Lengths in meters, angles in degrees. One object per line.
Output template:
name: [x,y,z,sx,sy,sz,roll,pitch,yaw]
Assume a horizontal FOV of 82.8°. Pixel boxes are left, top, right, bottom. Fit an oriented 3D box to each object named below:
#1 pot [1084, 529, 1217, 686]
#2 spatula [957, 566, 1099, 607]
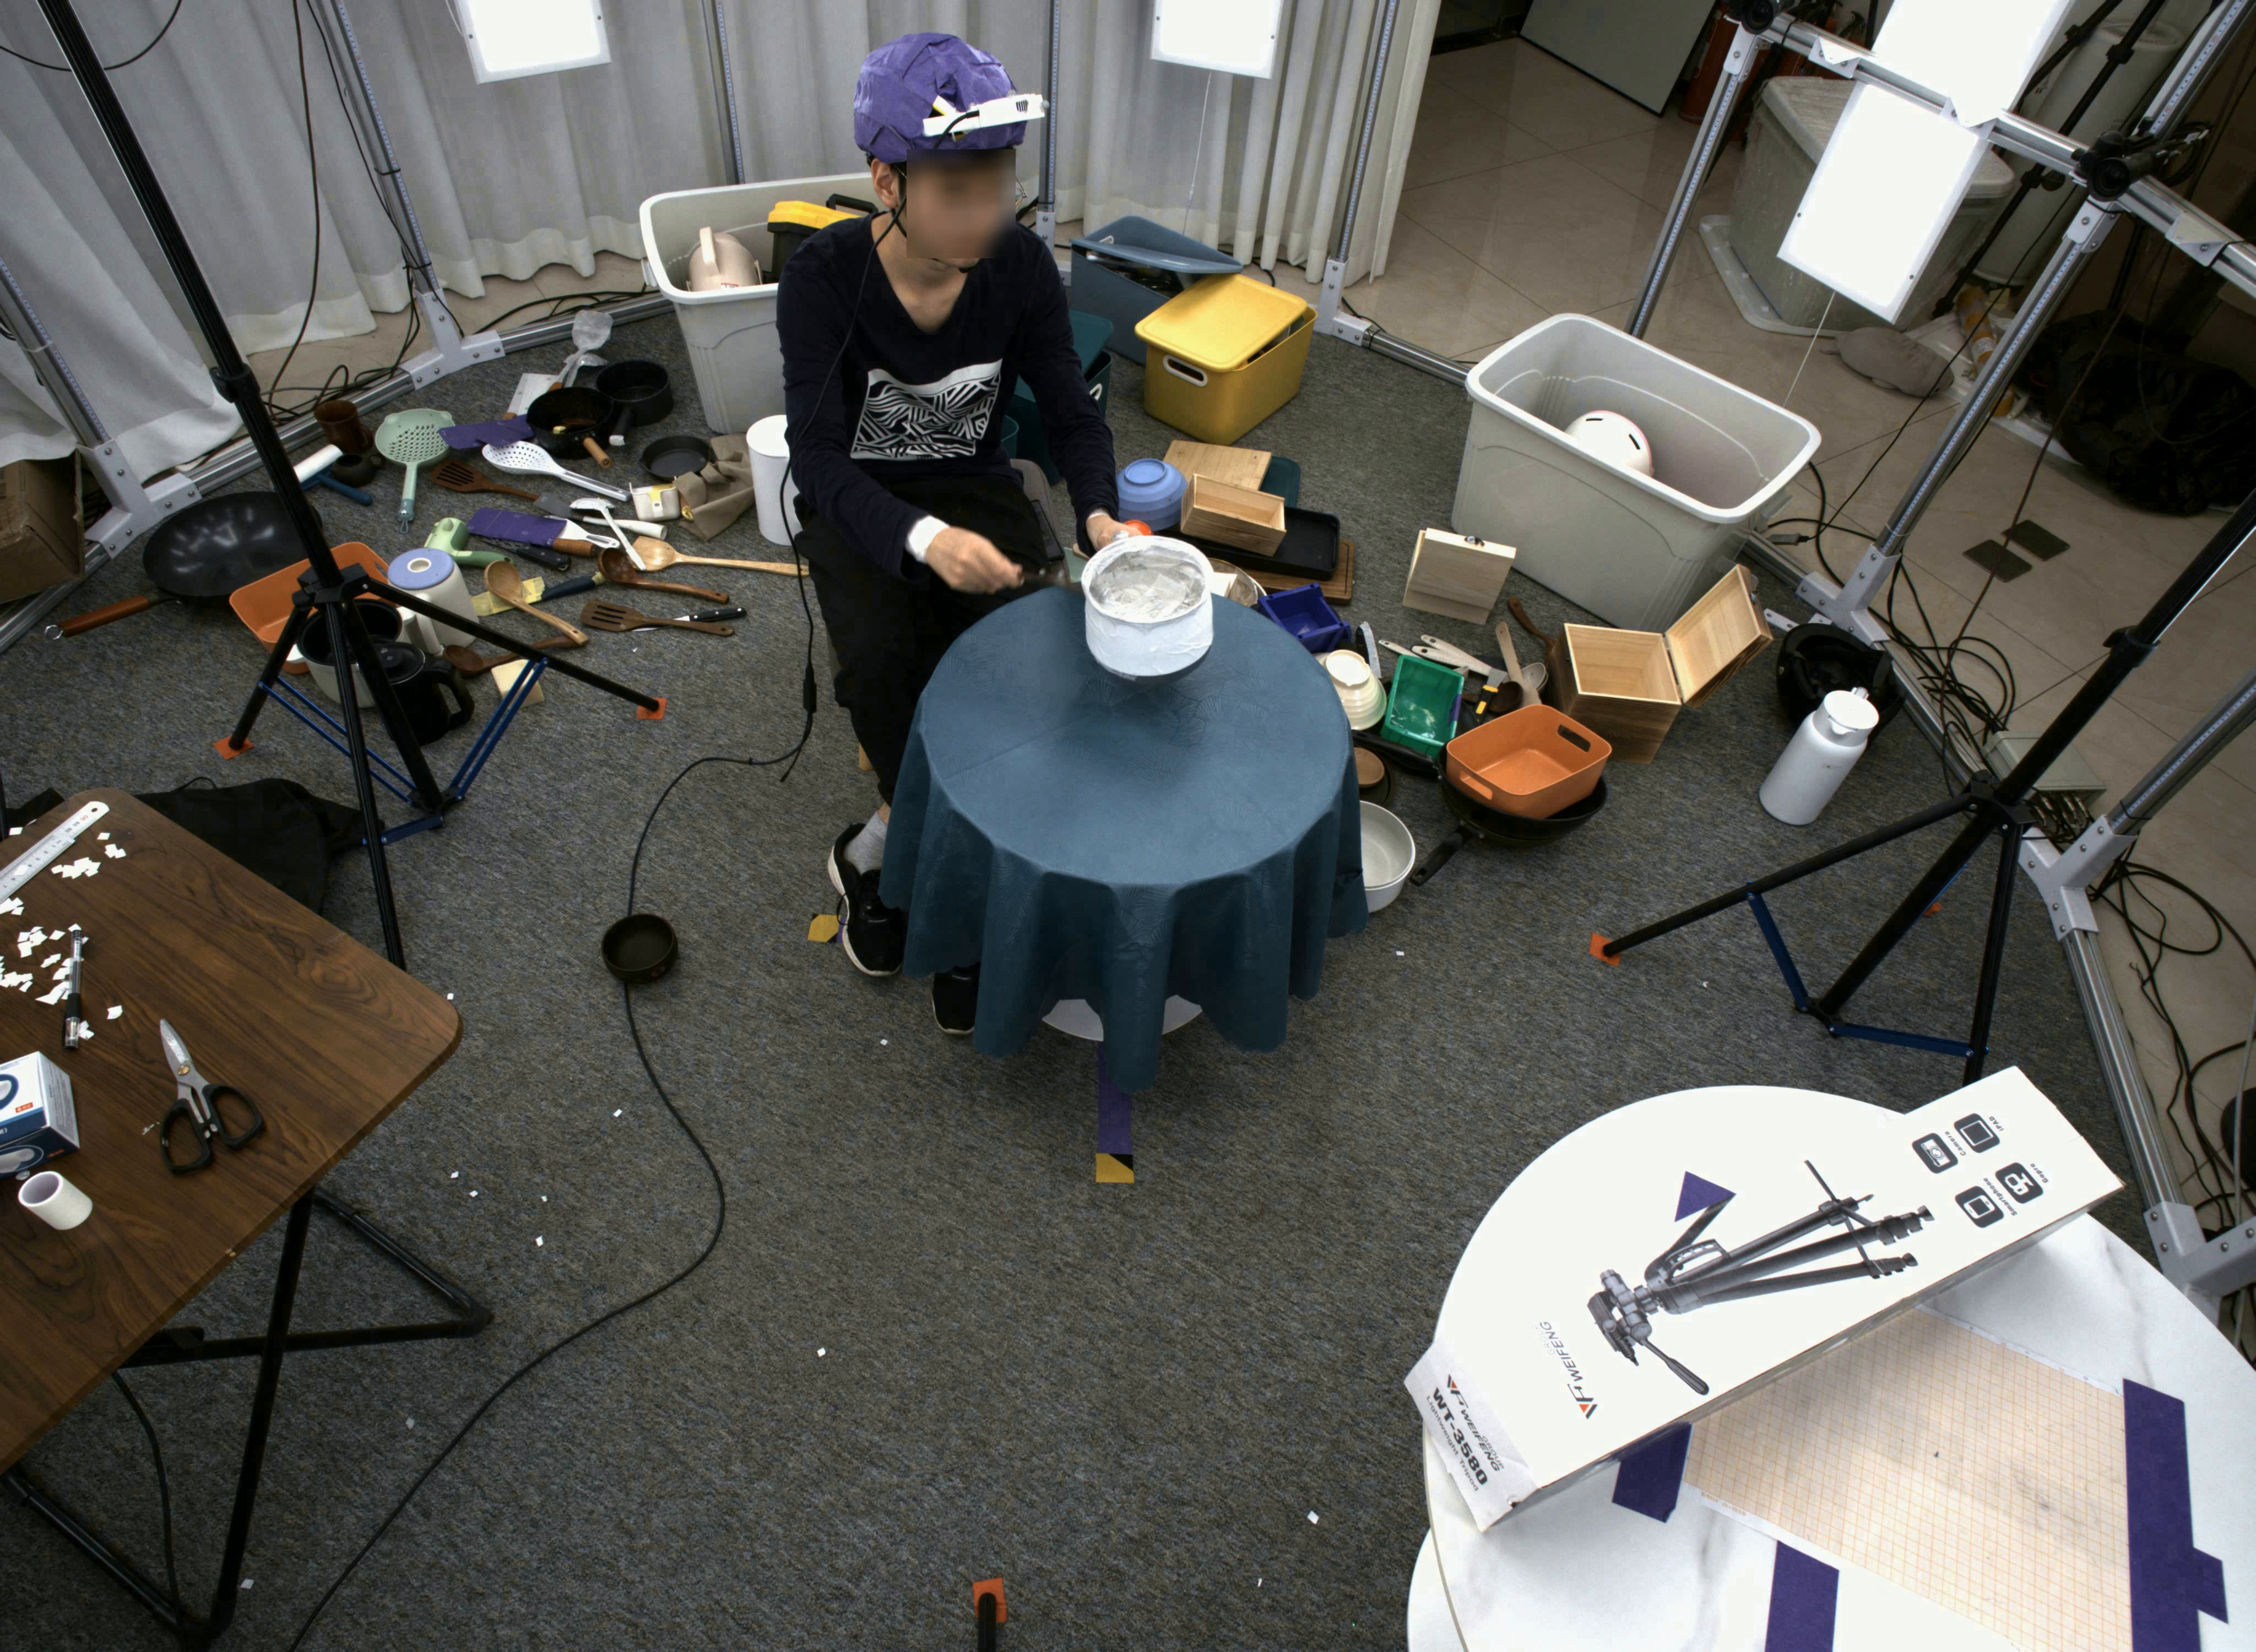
pot: [0.019,-0.311,1.772,0.179,0.133,0.239,-17,52,-14]
spatula: [-0.129,-0.305,1.632,0.218,0.071,0.009,19,92,29]
